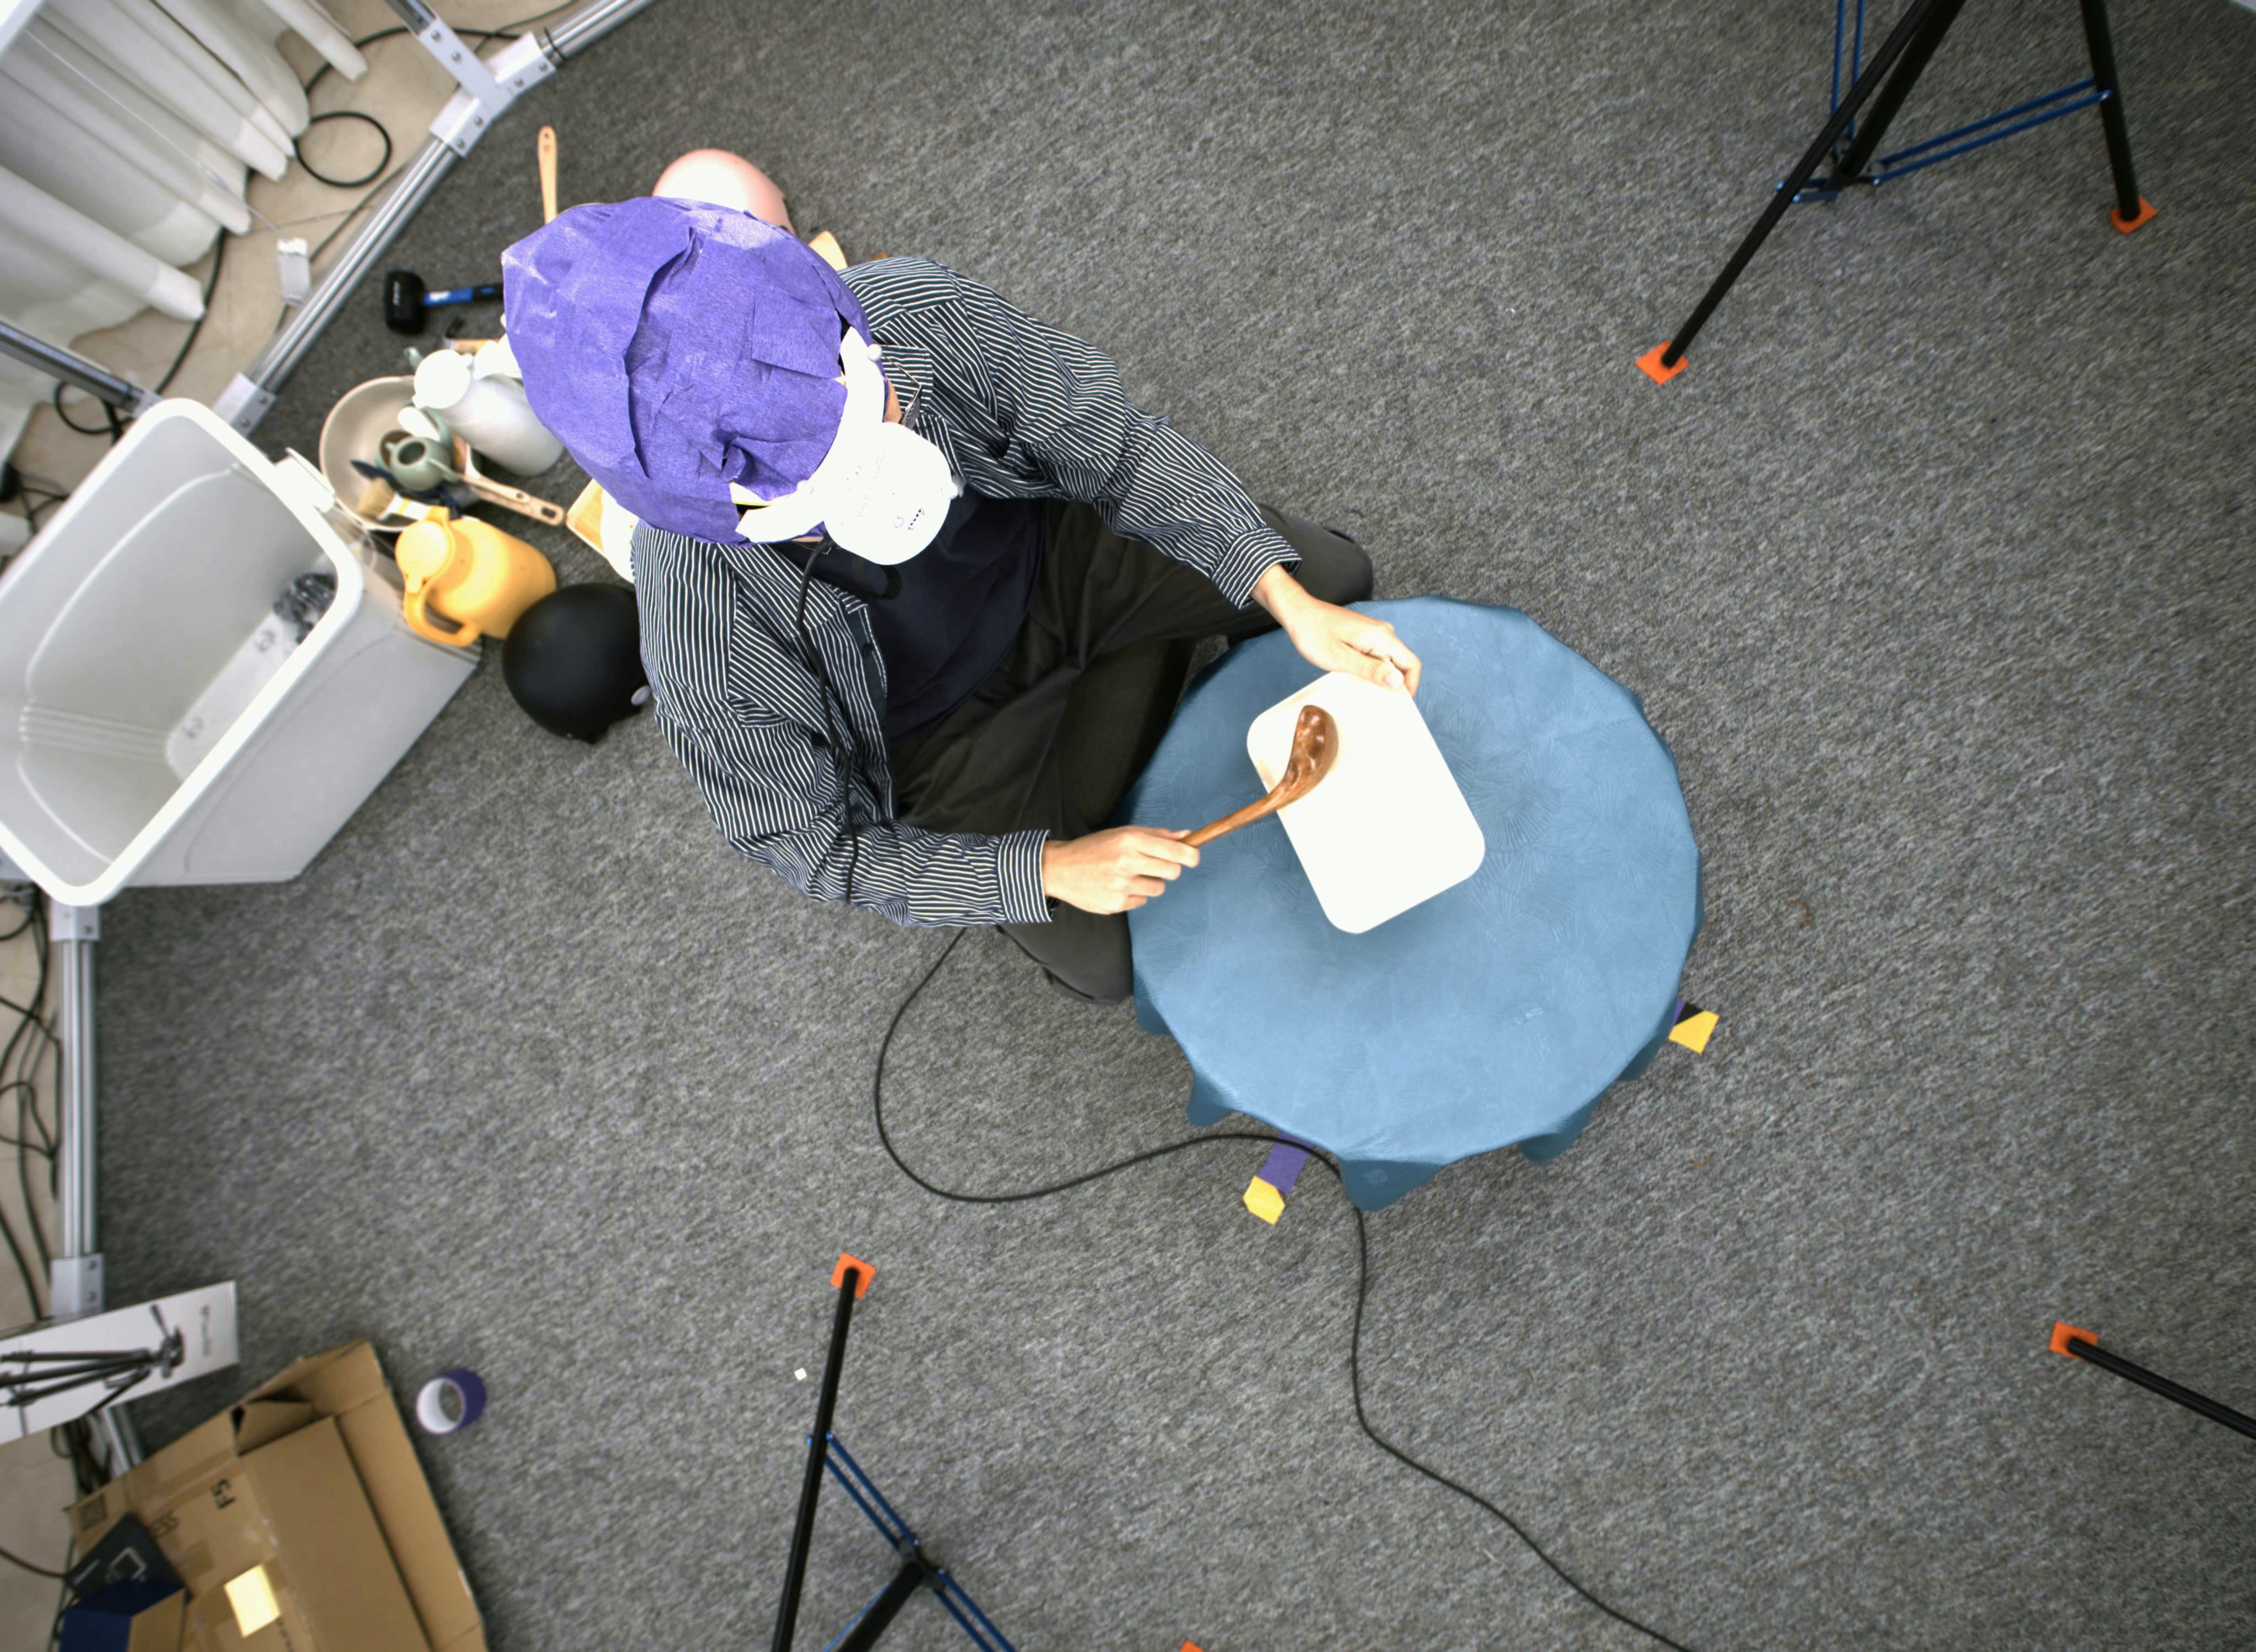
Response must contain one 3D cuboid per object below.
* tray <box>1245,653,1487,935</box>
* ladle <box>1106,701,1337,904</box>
[{"bbox_3d":[0.224,-0.031,1.307,0.174,0.017,0.237,-31,77,26],"label":"tray"},{"bbox_3d":[0.082,-0.025,1.322,0.277,0.082,0.075,-30,66,16],"label":"ladle"}]
